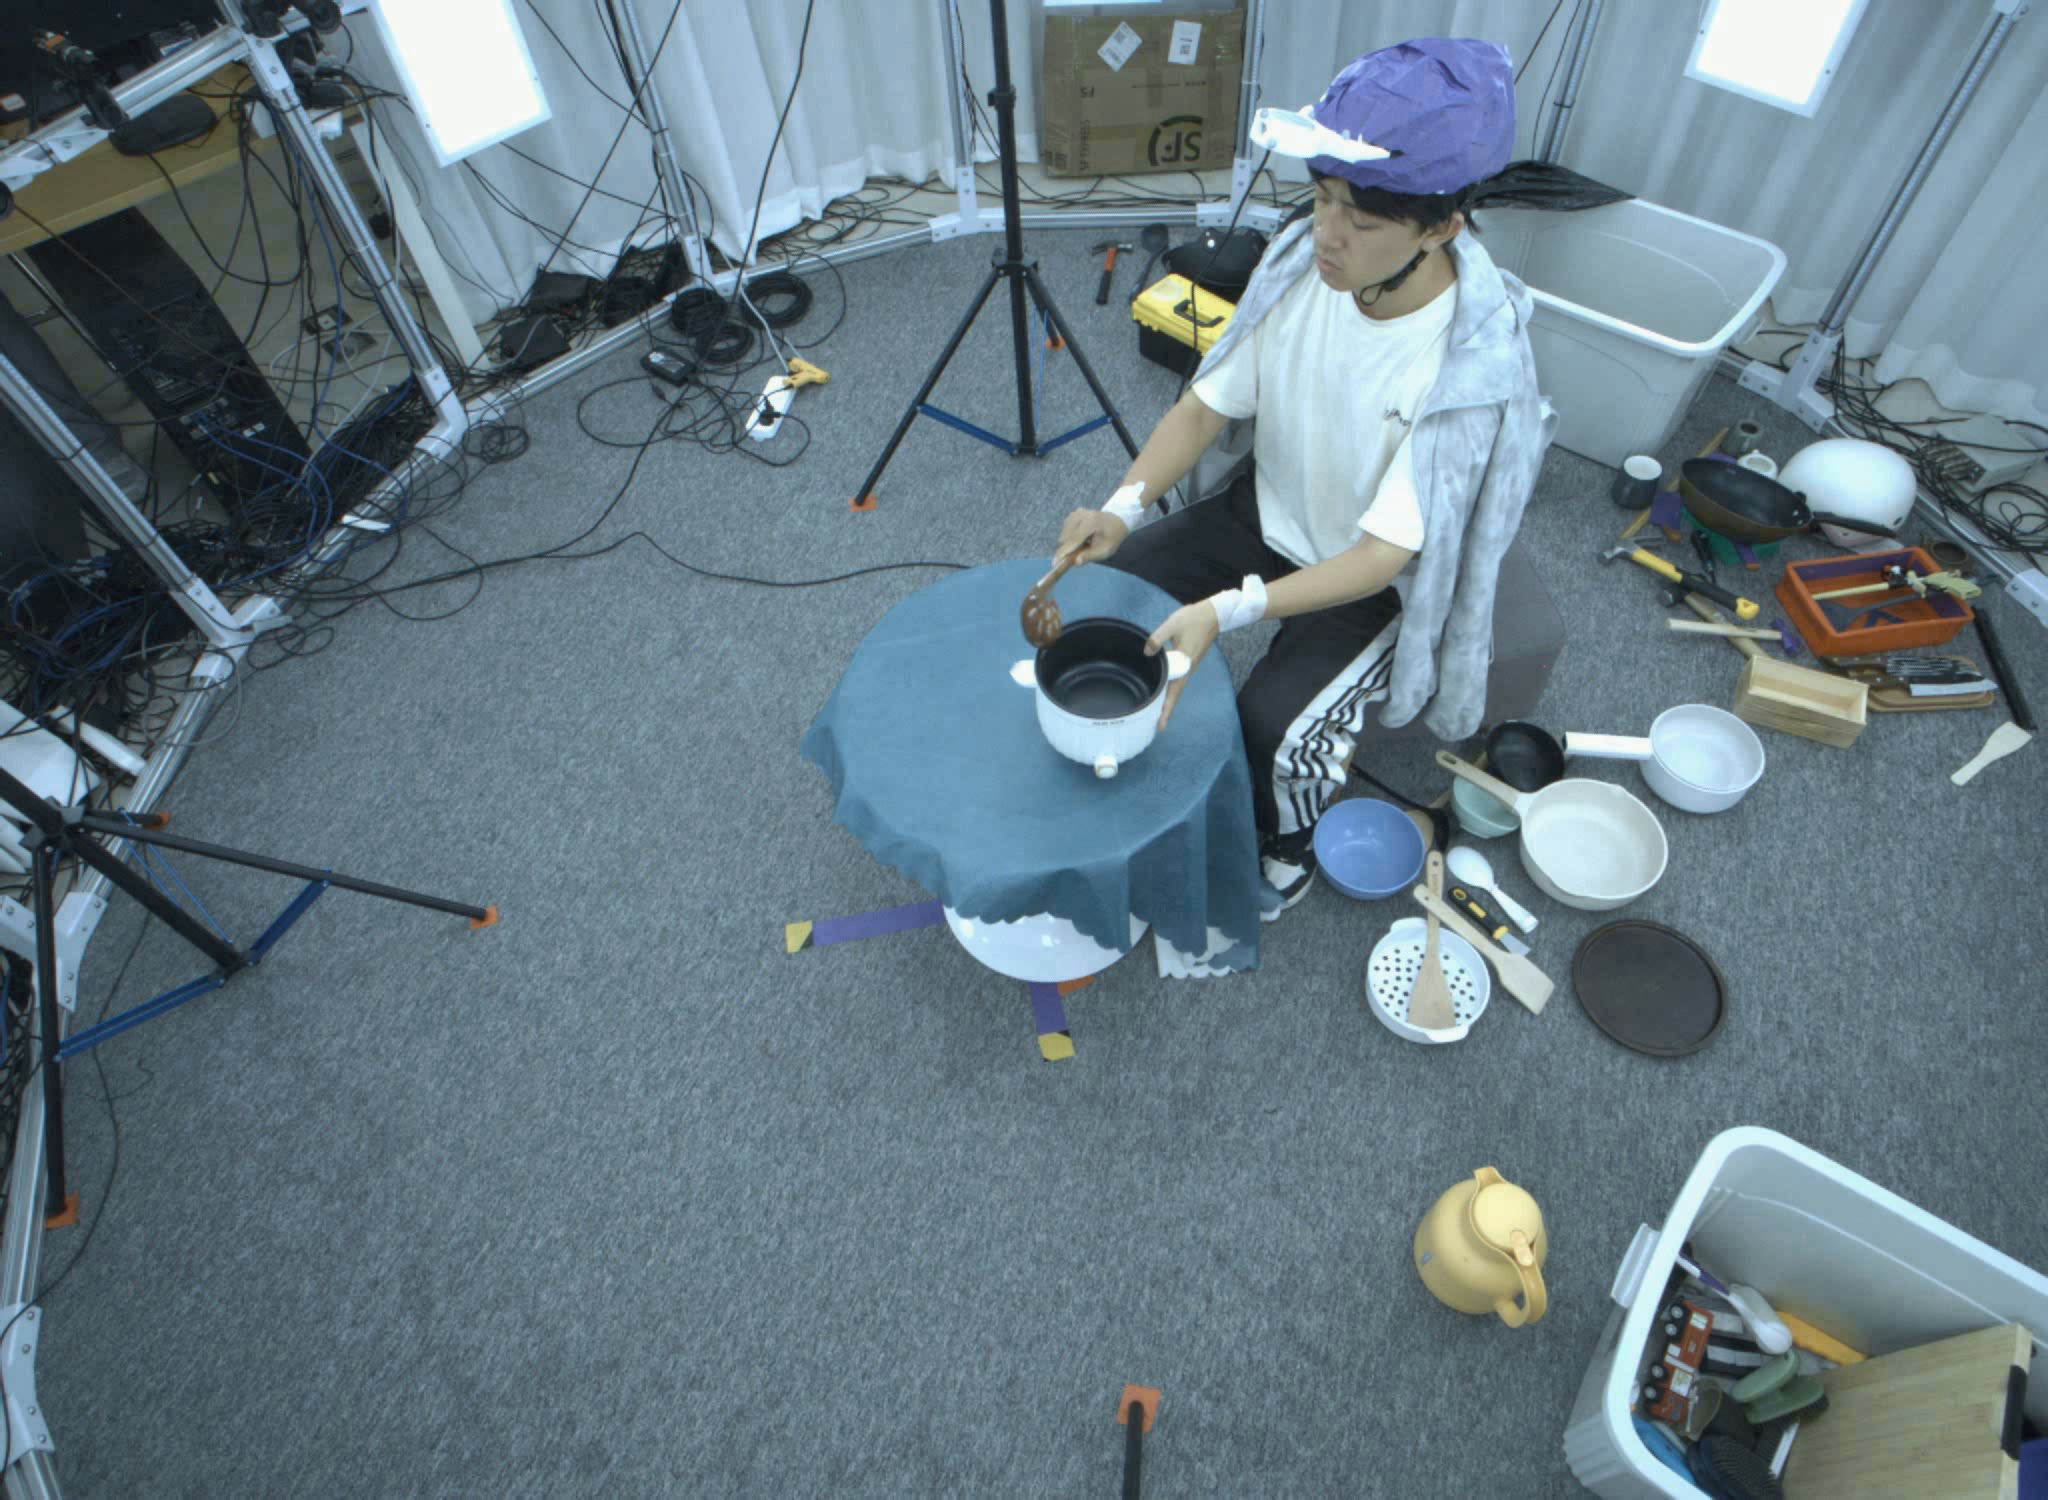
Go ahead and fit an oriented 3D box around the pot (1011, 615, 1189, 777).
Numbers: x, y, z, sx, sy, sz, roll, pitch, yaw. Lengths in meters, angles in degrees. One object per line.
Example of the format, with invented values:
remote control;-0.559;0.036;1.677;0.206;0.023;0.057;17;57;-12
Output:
pot;0.106;-0.071;1.701;0.241;0.144;0.188;-5;51;-1

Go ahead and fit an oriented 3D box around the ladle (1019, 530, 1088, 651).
ladle;0.063;-0.232;1.722;0.076;0.082;0.275;32;42;4
